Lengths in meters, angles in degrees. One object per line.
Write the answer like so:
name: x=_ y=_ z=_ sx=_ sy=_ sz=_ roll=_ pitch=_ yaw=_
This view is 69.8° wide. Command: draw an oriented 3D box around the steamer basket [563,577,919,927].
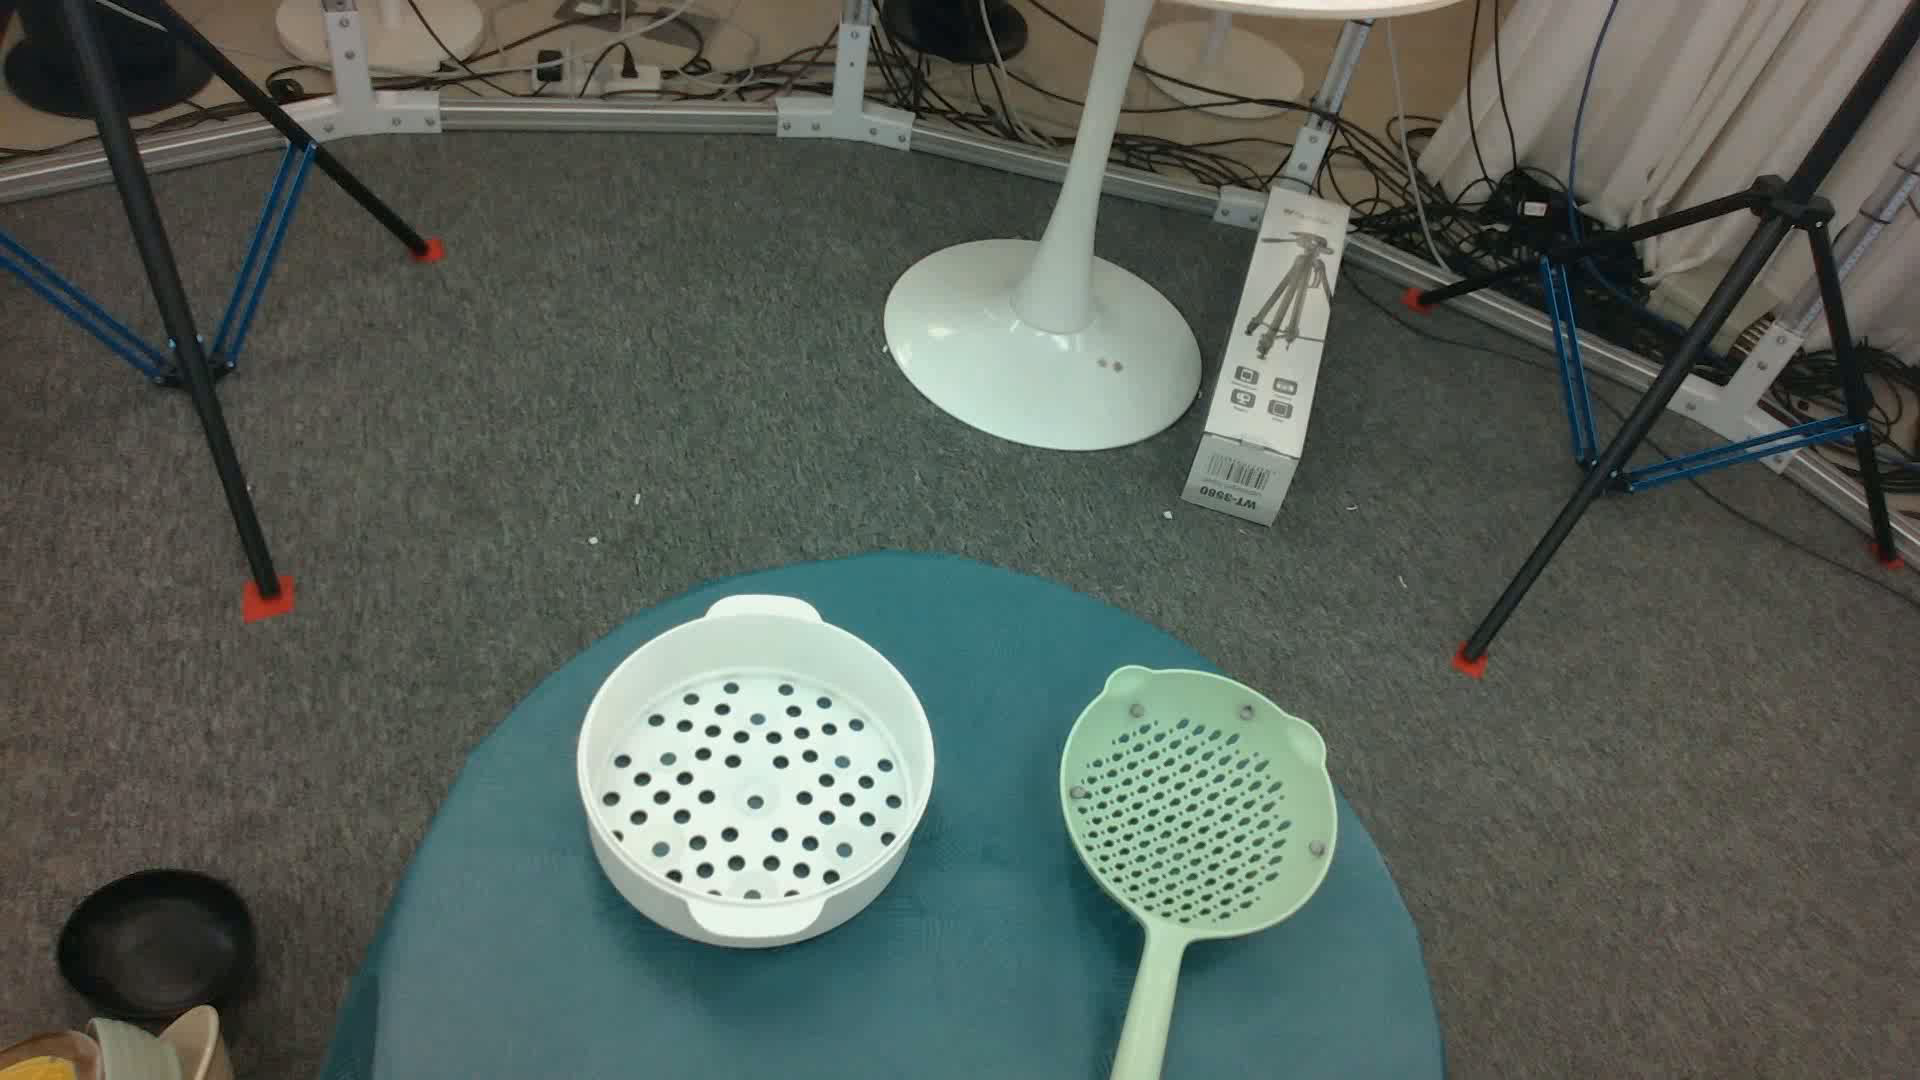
steamer basket: x=-0.128 y=0.128 z=0.812 sx=0.202 sy=0.069 sz=0.231 roll=2 pitch=48 yaw=-11

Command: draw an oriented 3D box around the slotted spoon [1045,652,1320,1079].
slotted spoon: x=0.104 y=0.225 z=0.779 sx=0.169 sy=0.075 sz=0.361 roll=18 pitch=46 yaw=4
